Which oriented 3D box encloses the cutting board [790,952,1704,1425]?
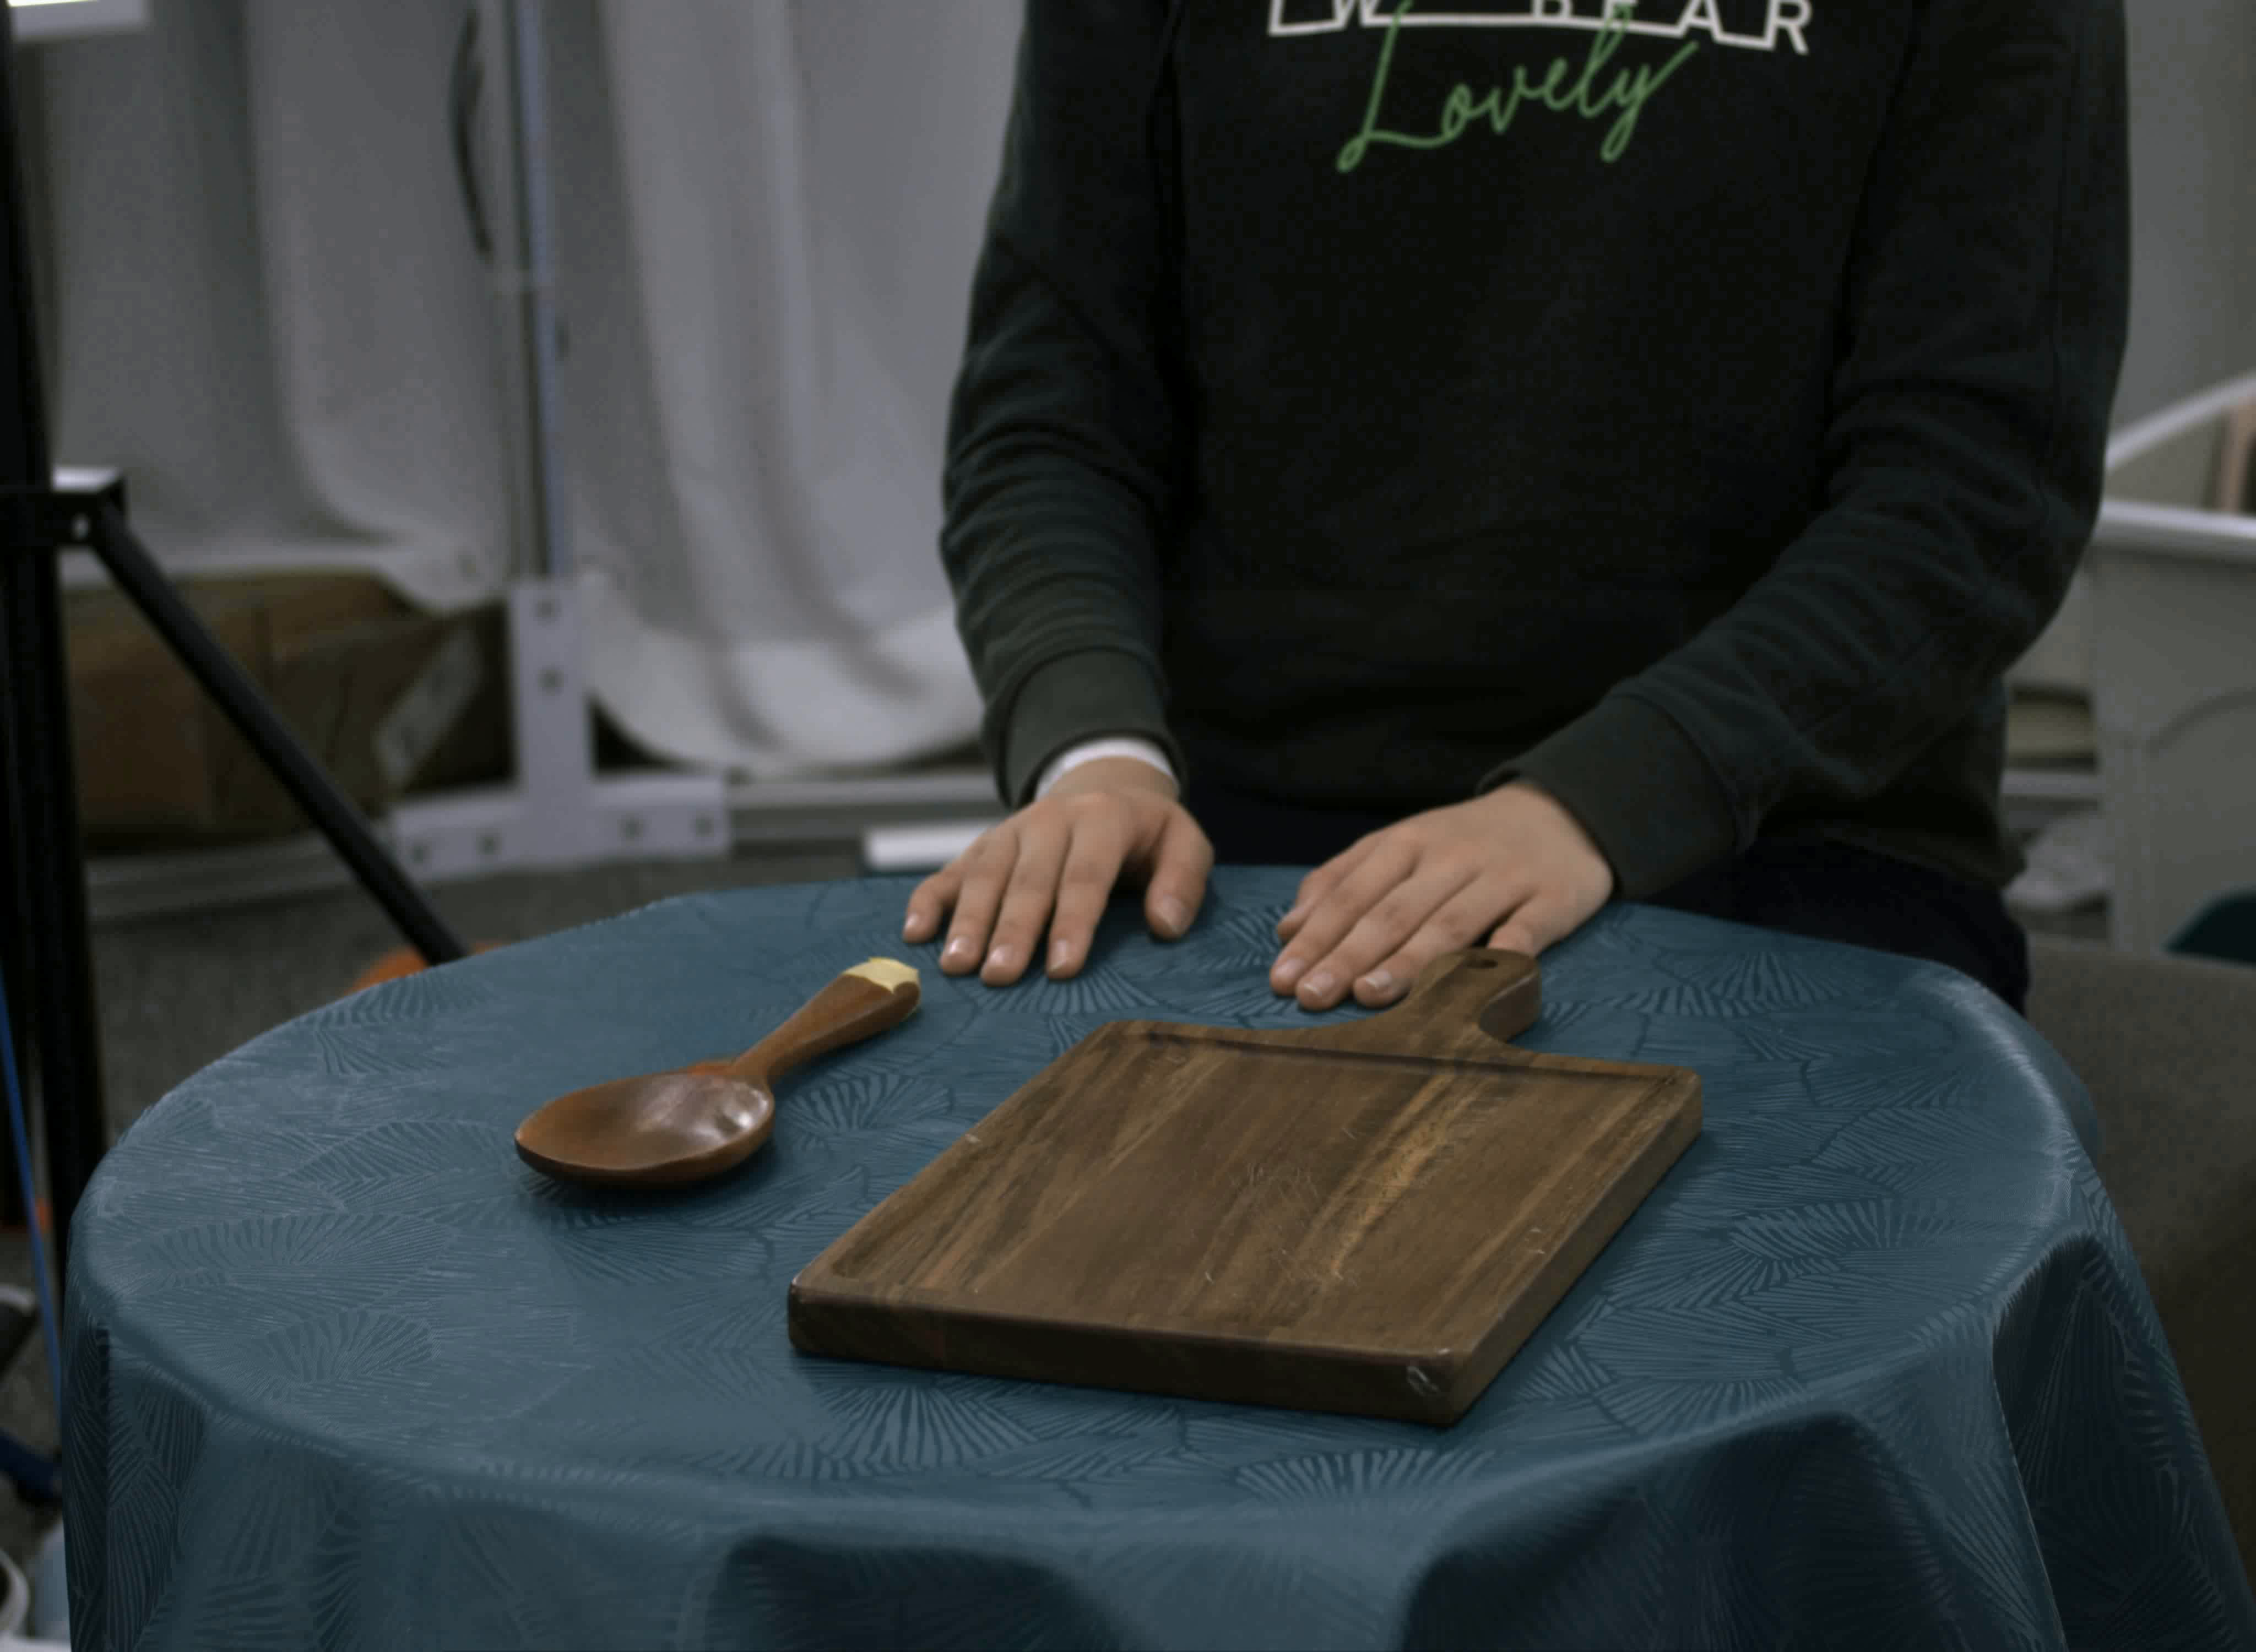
[{"bbox_3d":[0.058,0.097,1.557,0.203,0.023,0.347,3,16,22],"label":"cutting board"}]

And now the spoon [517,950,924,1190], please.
[{"bbox_3d":[-0.117,0.077,1.654,0.076,0.017,0.213,3,17,25],"label":"spoon"}]
